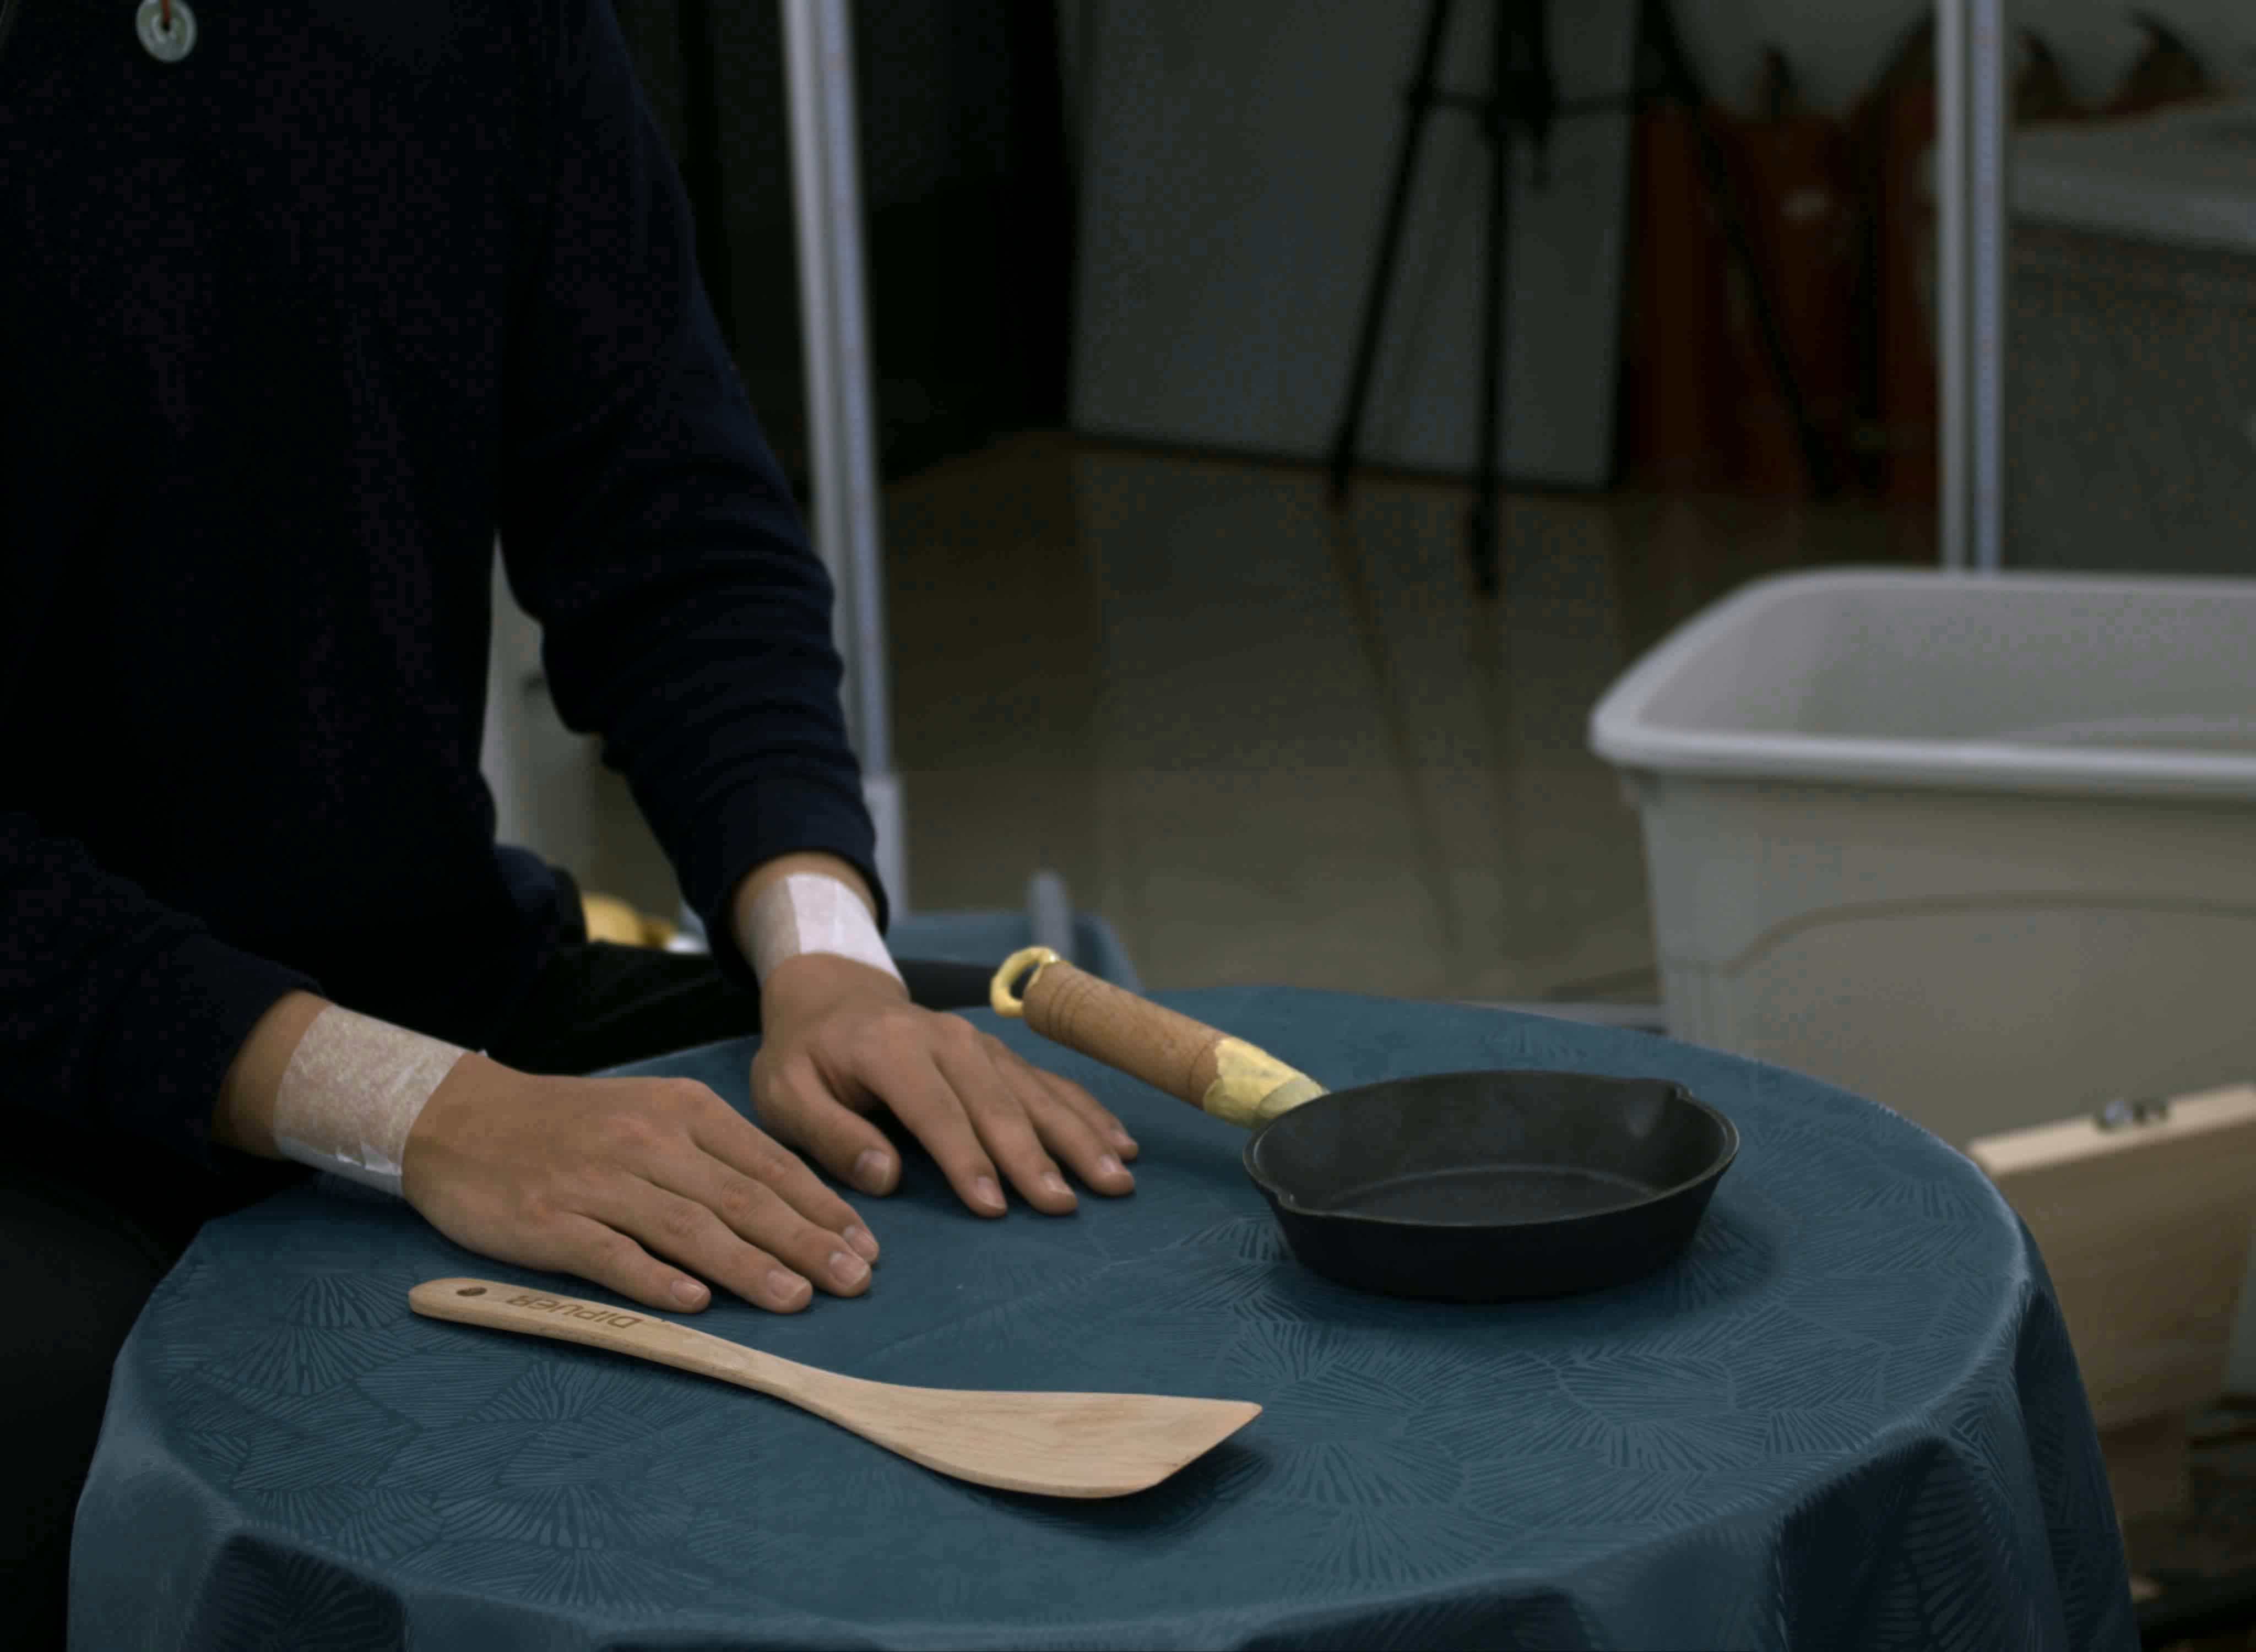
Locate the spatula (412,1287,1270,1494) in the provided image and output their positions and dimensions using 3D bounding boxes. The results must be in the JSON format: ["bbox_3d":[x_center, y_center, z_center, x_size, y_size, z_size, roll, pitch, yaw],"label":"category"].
[{"bbox_3d":[-0.095,0.162,1.600,0.330,0.017,0.078,8,17,40],"label":"spatula"}]

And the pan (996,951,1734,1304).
[{"bbox_3d":[0.062,0.093,1.759,0.165,0.050,0.327,-14,18,-35],"label":"pan"}]
